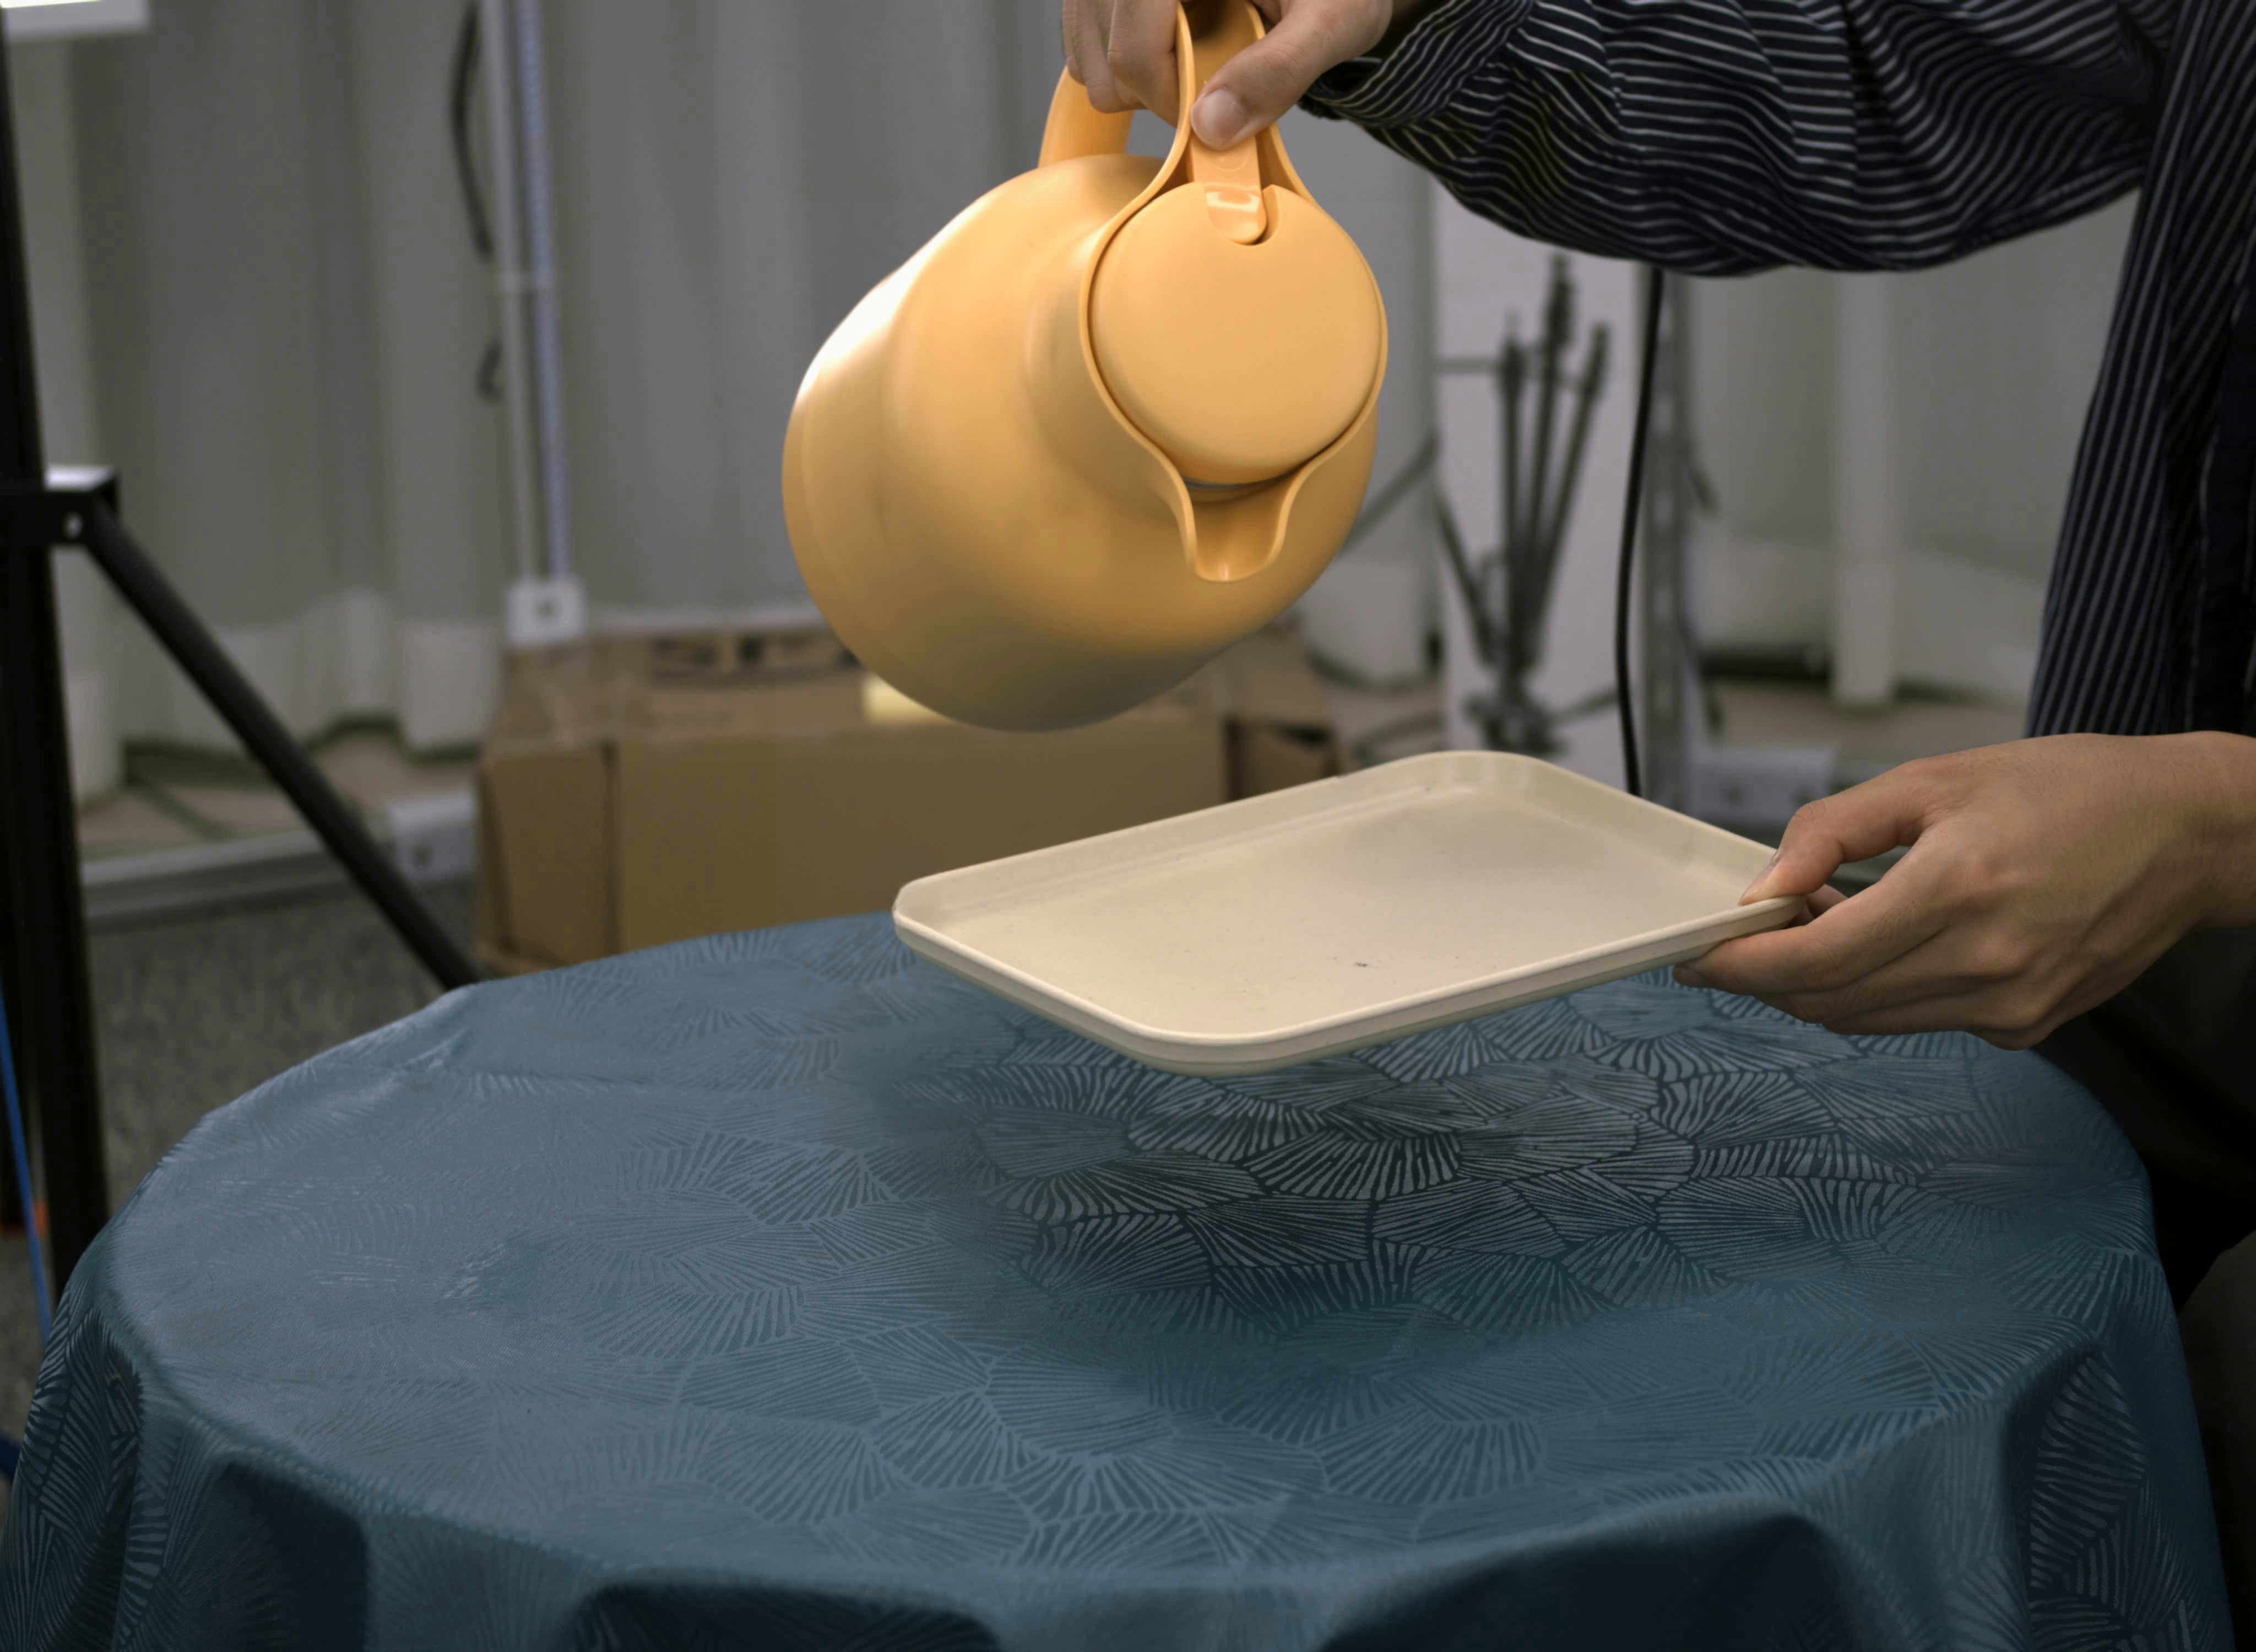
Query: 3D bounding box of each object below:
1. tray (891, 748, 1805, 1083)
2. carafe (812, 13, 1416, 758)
[{"bbox_3d":[0.064,0.025,1.540,0.234,0.017,0.175,-13,23,-32],"label":"tray"},{"bbox_3d":[0.005,-0.138,1.680,0.160,0.204,0.263,1,-10,-19],"label":"carafe"}]
